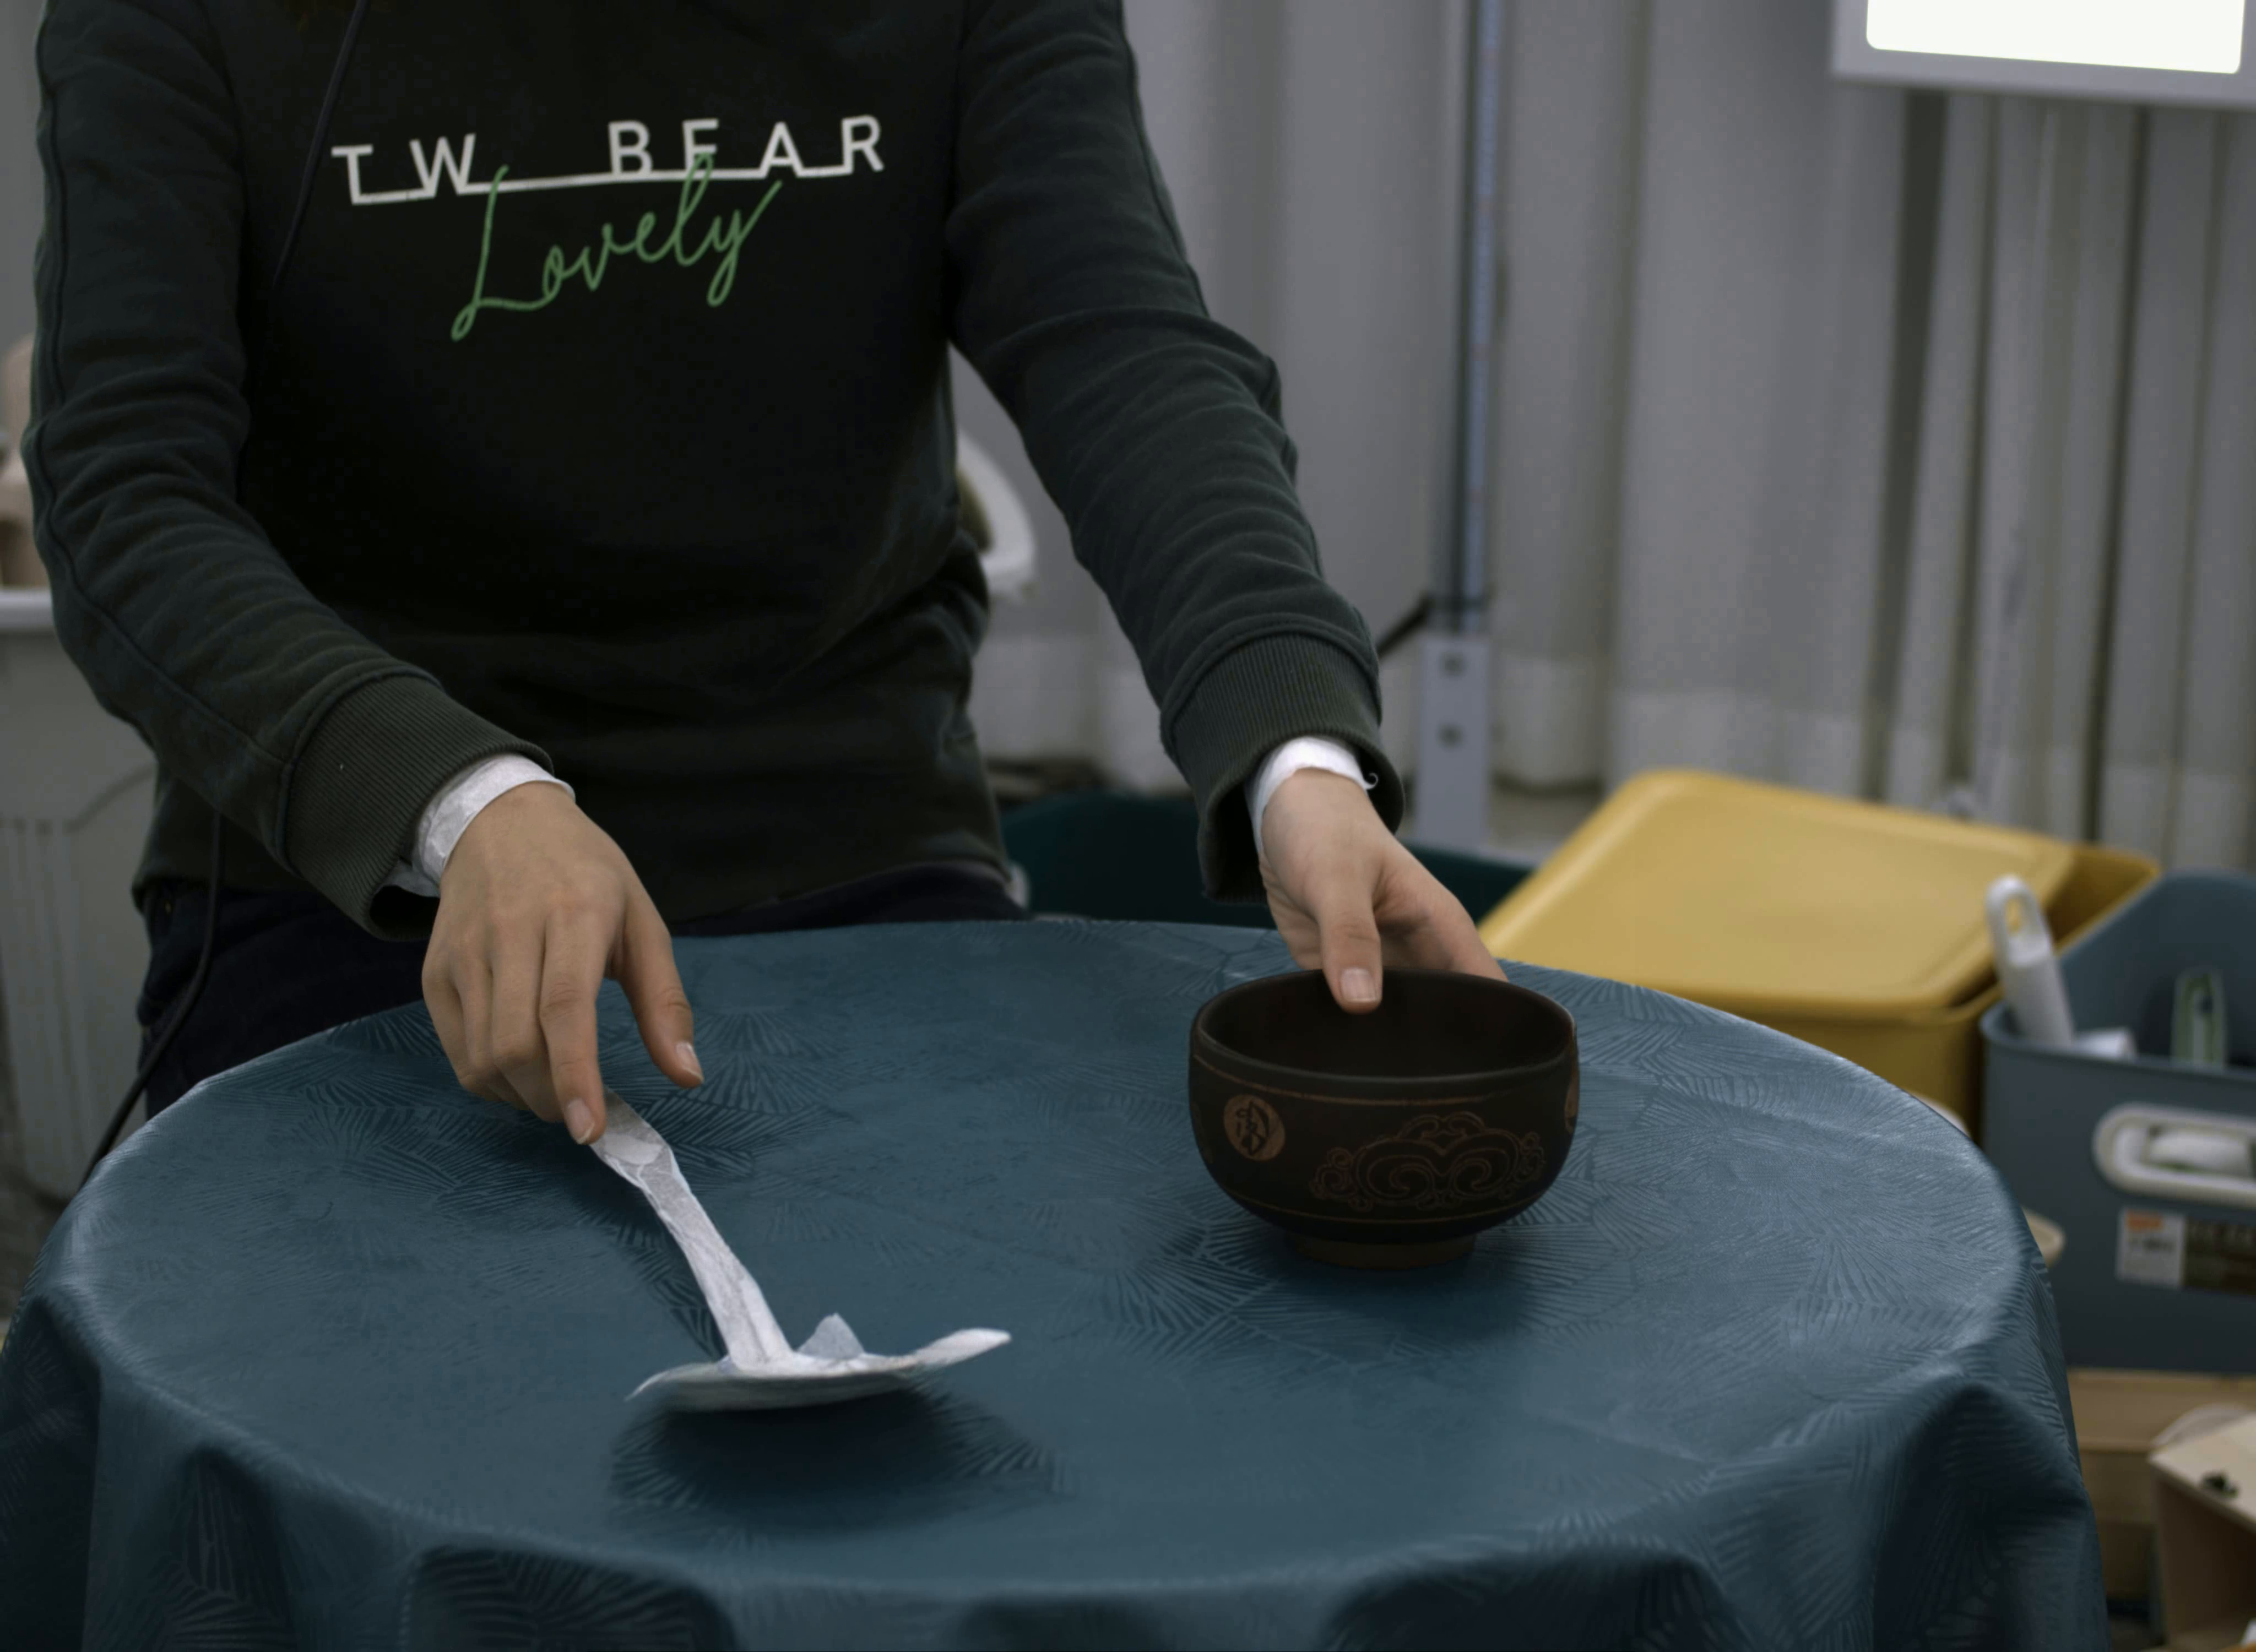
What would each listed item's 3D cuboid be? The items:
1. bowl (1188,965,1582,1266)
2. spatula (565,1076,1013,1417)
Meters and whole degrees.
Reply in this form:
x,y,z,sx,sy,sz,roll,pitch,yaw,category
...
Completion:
x,y,z,sx,sy,sz,roll,pitch,yaw,category
0.076,0.090,1.578,0.117,0.070,0.117,2,15,0,bowl
-0.124,0.114,1.546,0.099,0.045,0.361,-7,18,-17,spatula
